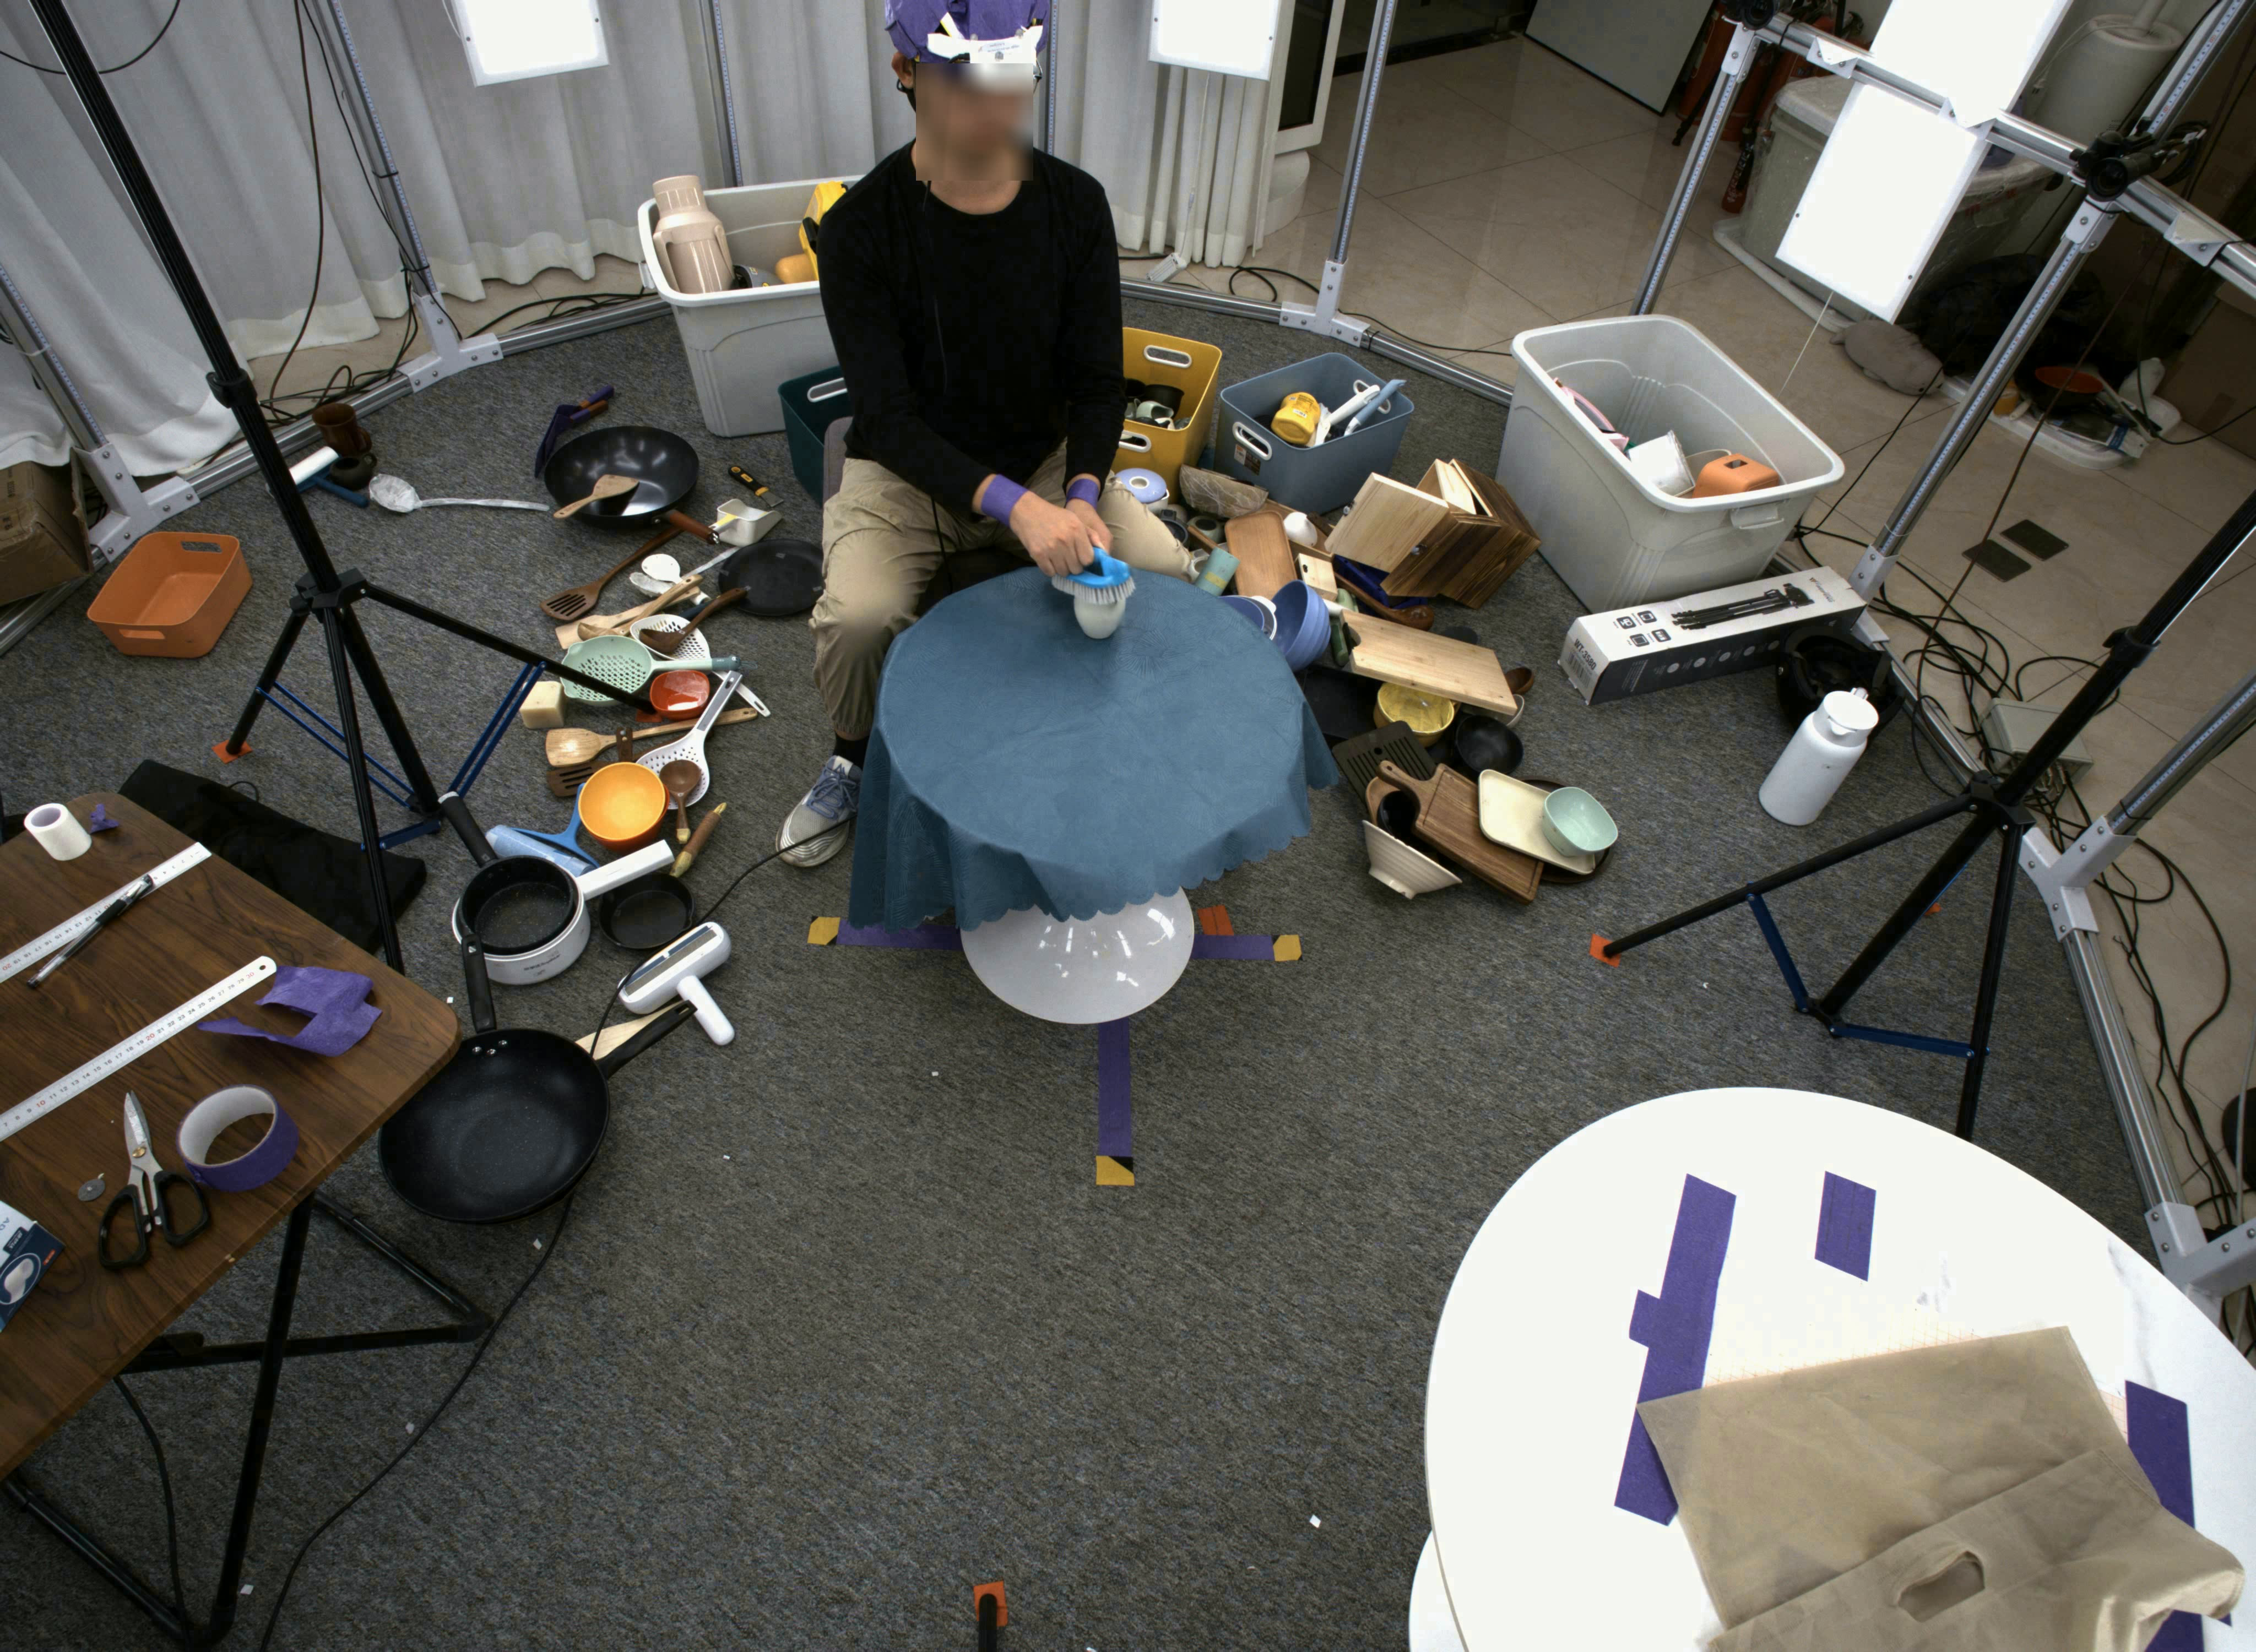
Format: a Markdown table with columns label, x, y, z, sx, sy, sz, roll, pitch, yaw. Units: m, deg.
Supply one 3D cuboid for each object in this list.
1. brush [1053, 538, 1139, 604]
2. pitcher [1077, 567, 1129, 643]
| label | x | y | z | sx | sy | sz | roll | pitch | yaw |
| --- | --- | --- | --- | --- | --- | --- | --- | --- | --- |
| brush | -0.050 | -0.371 | 1.829 | 0.085 | 0.062 | 0.144 | -35 | 43 | -25 |
| pitcher | -0.041 | -0.321 | 1.887 | 0.076 | 0.086 | 0.122 | -11 | 54 | -20 |
